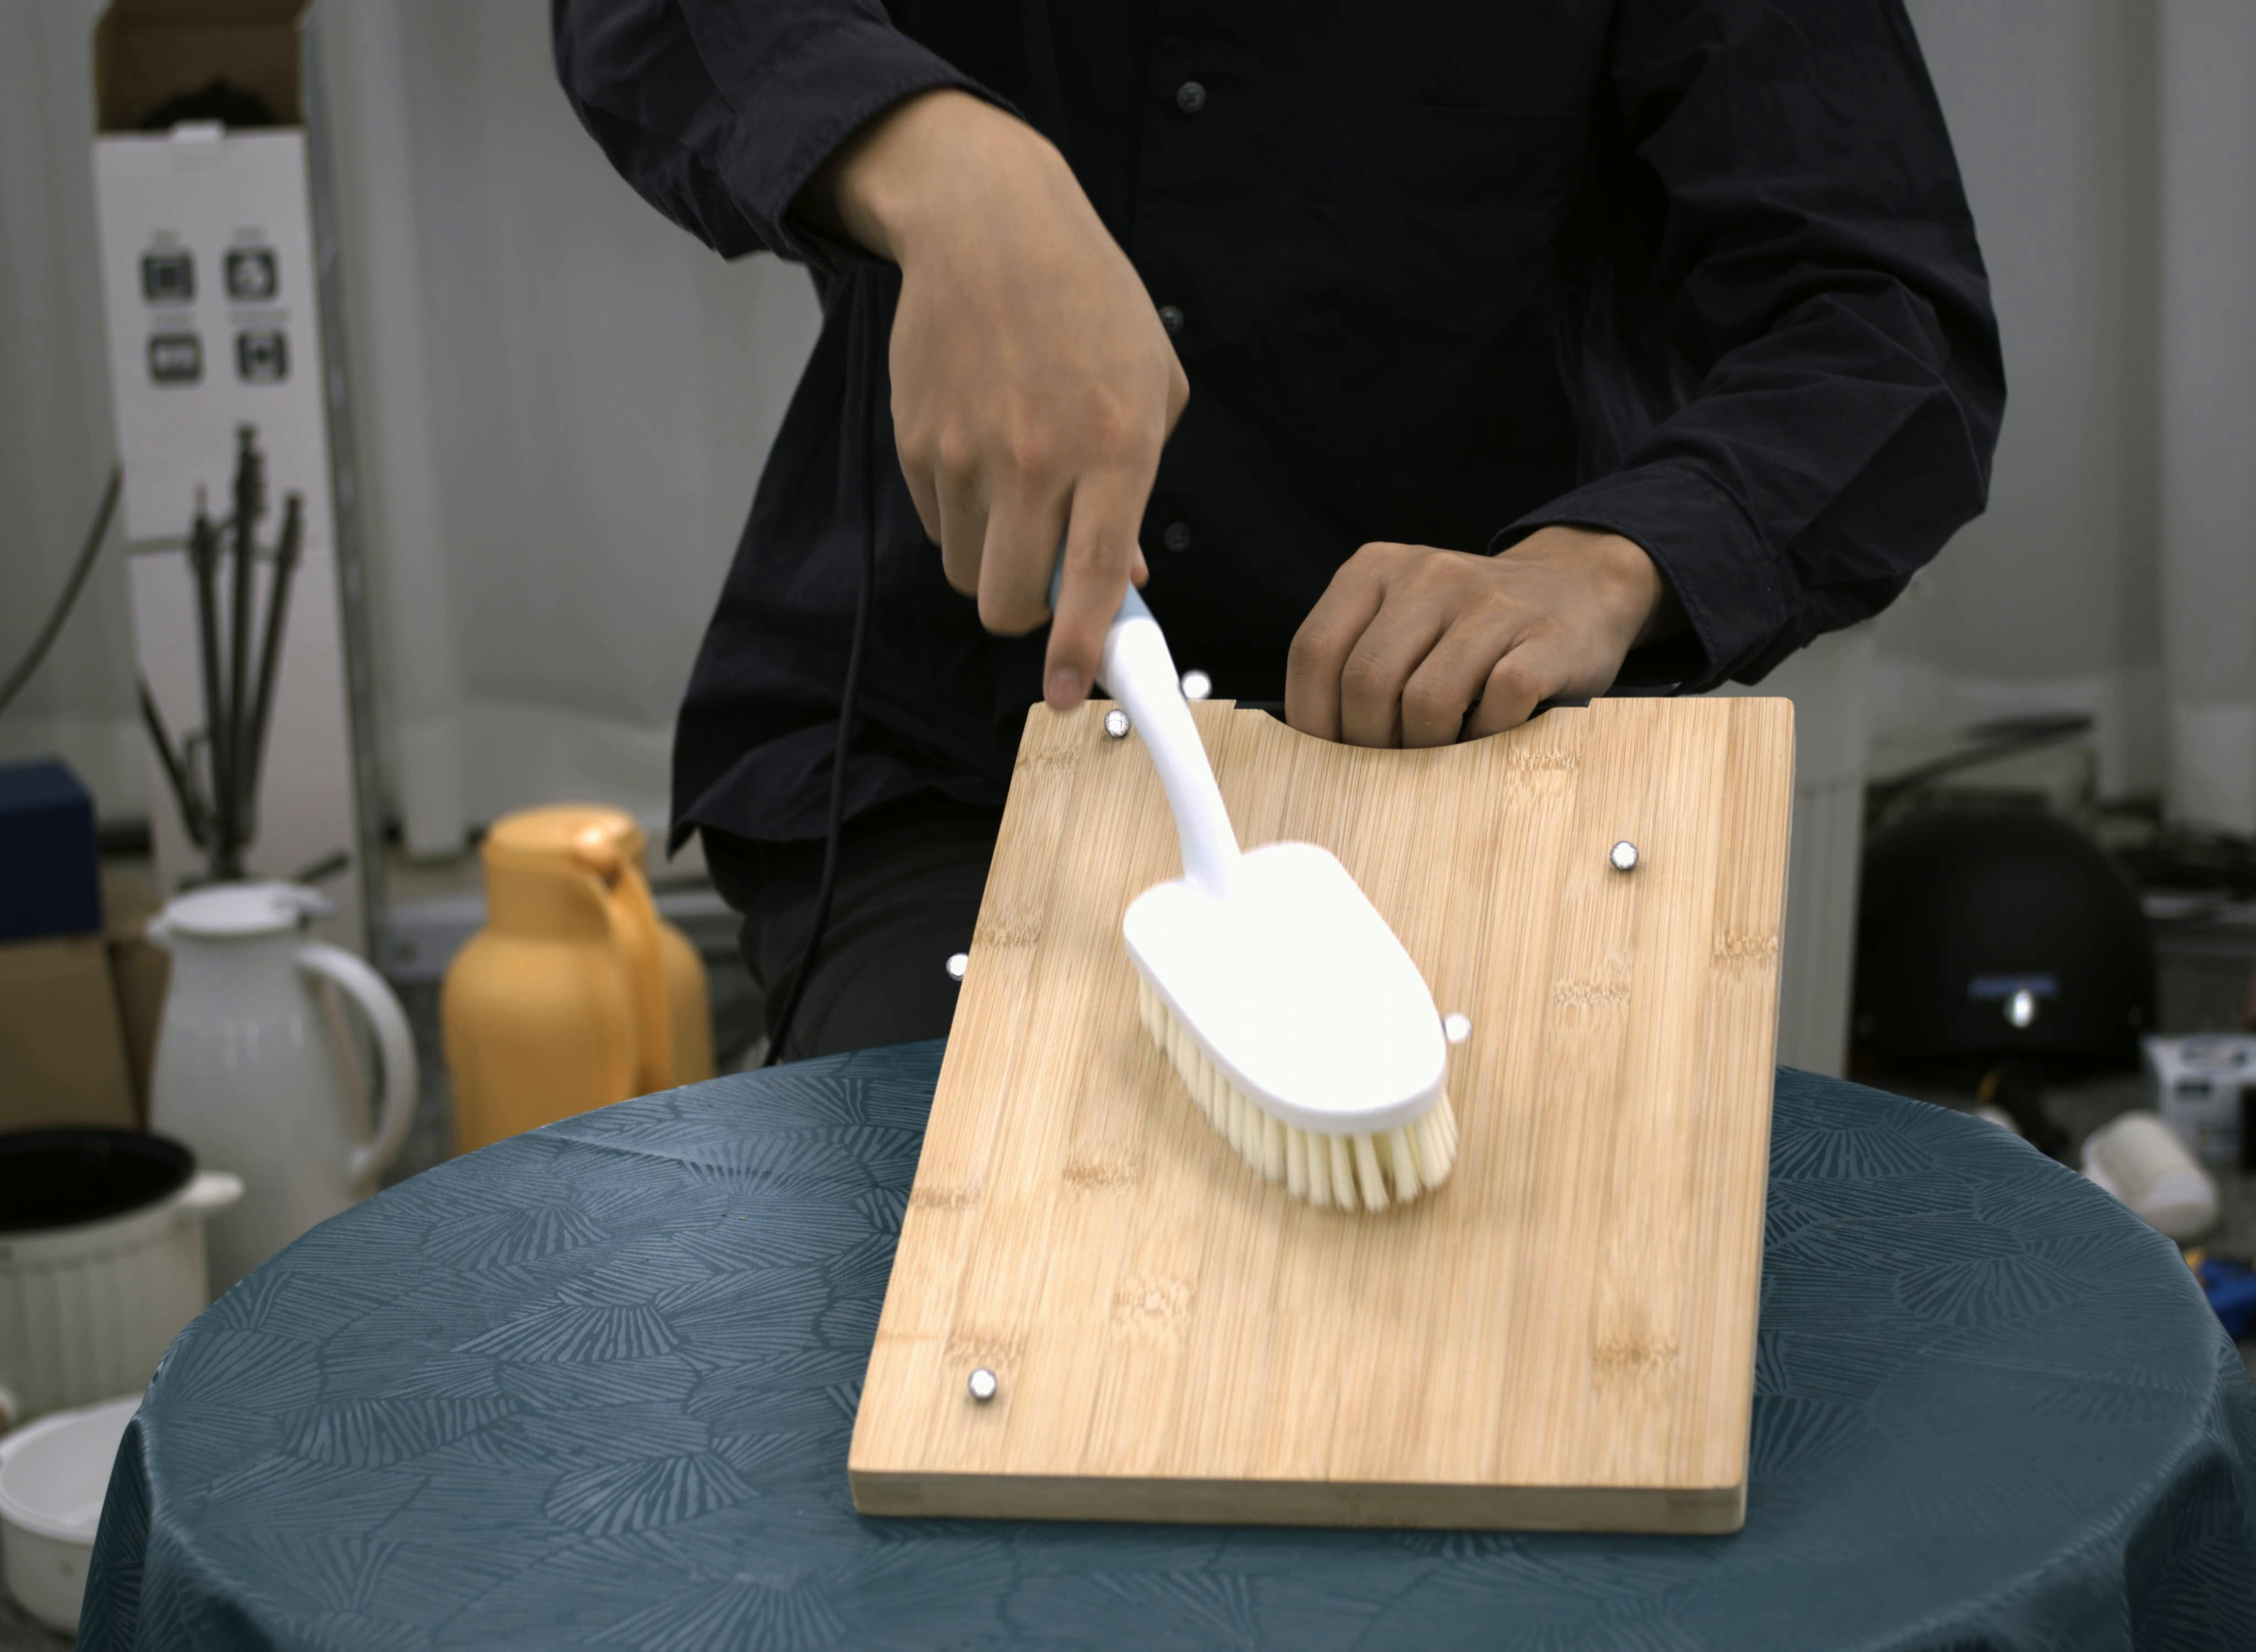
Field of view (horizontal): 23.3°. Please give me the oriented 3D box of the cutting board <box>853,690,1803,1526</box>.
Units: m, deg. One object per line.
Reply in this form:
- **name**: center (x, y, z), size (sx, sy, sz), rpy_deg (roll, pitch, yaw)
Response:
- **cutting board**: center (0.068, 0.072, 1.579), size (0.250, 0.023, 0.353), rpy_deg (-1, 38, 8)

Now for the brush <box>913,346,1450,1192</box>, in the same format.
- **brush**: center (0.013, -0.014, 1.616), size (0.082, 0.084, 0.330), rpy_deg (10, 37, -41)
